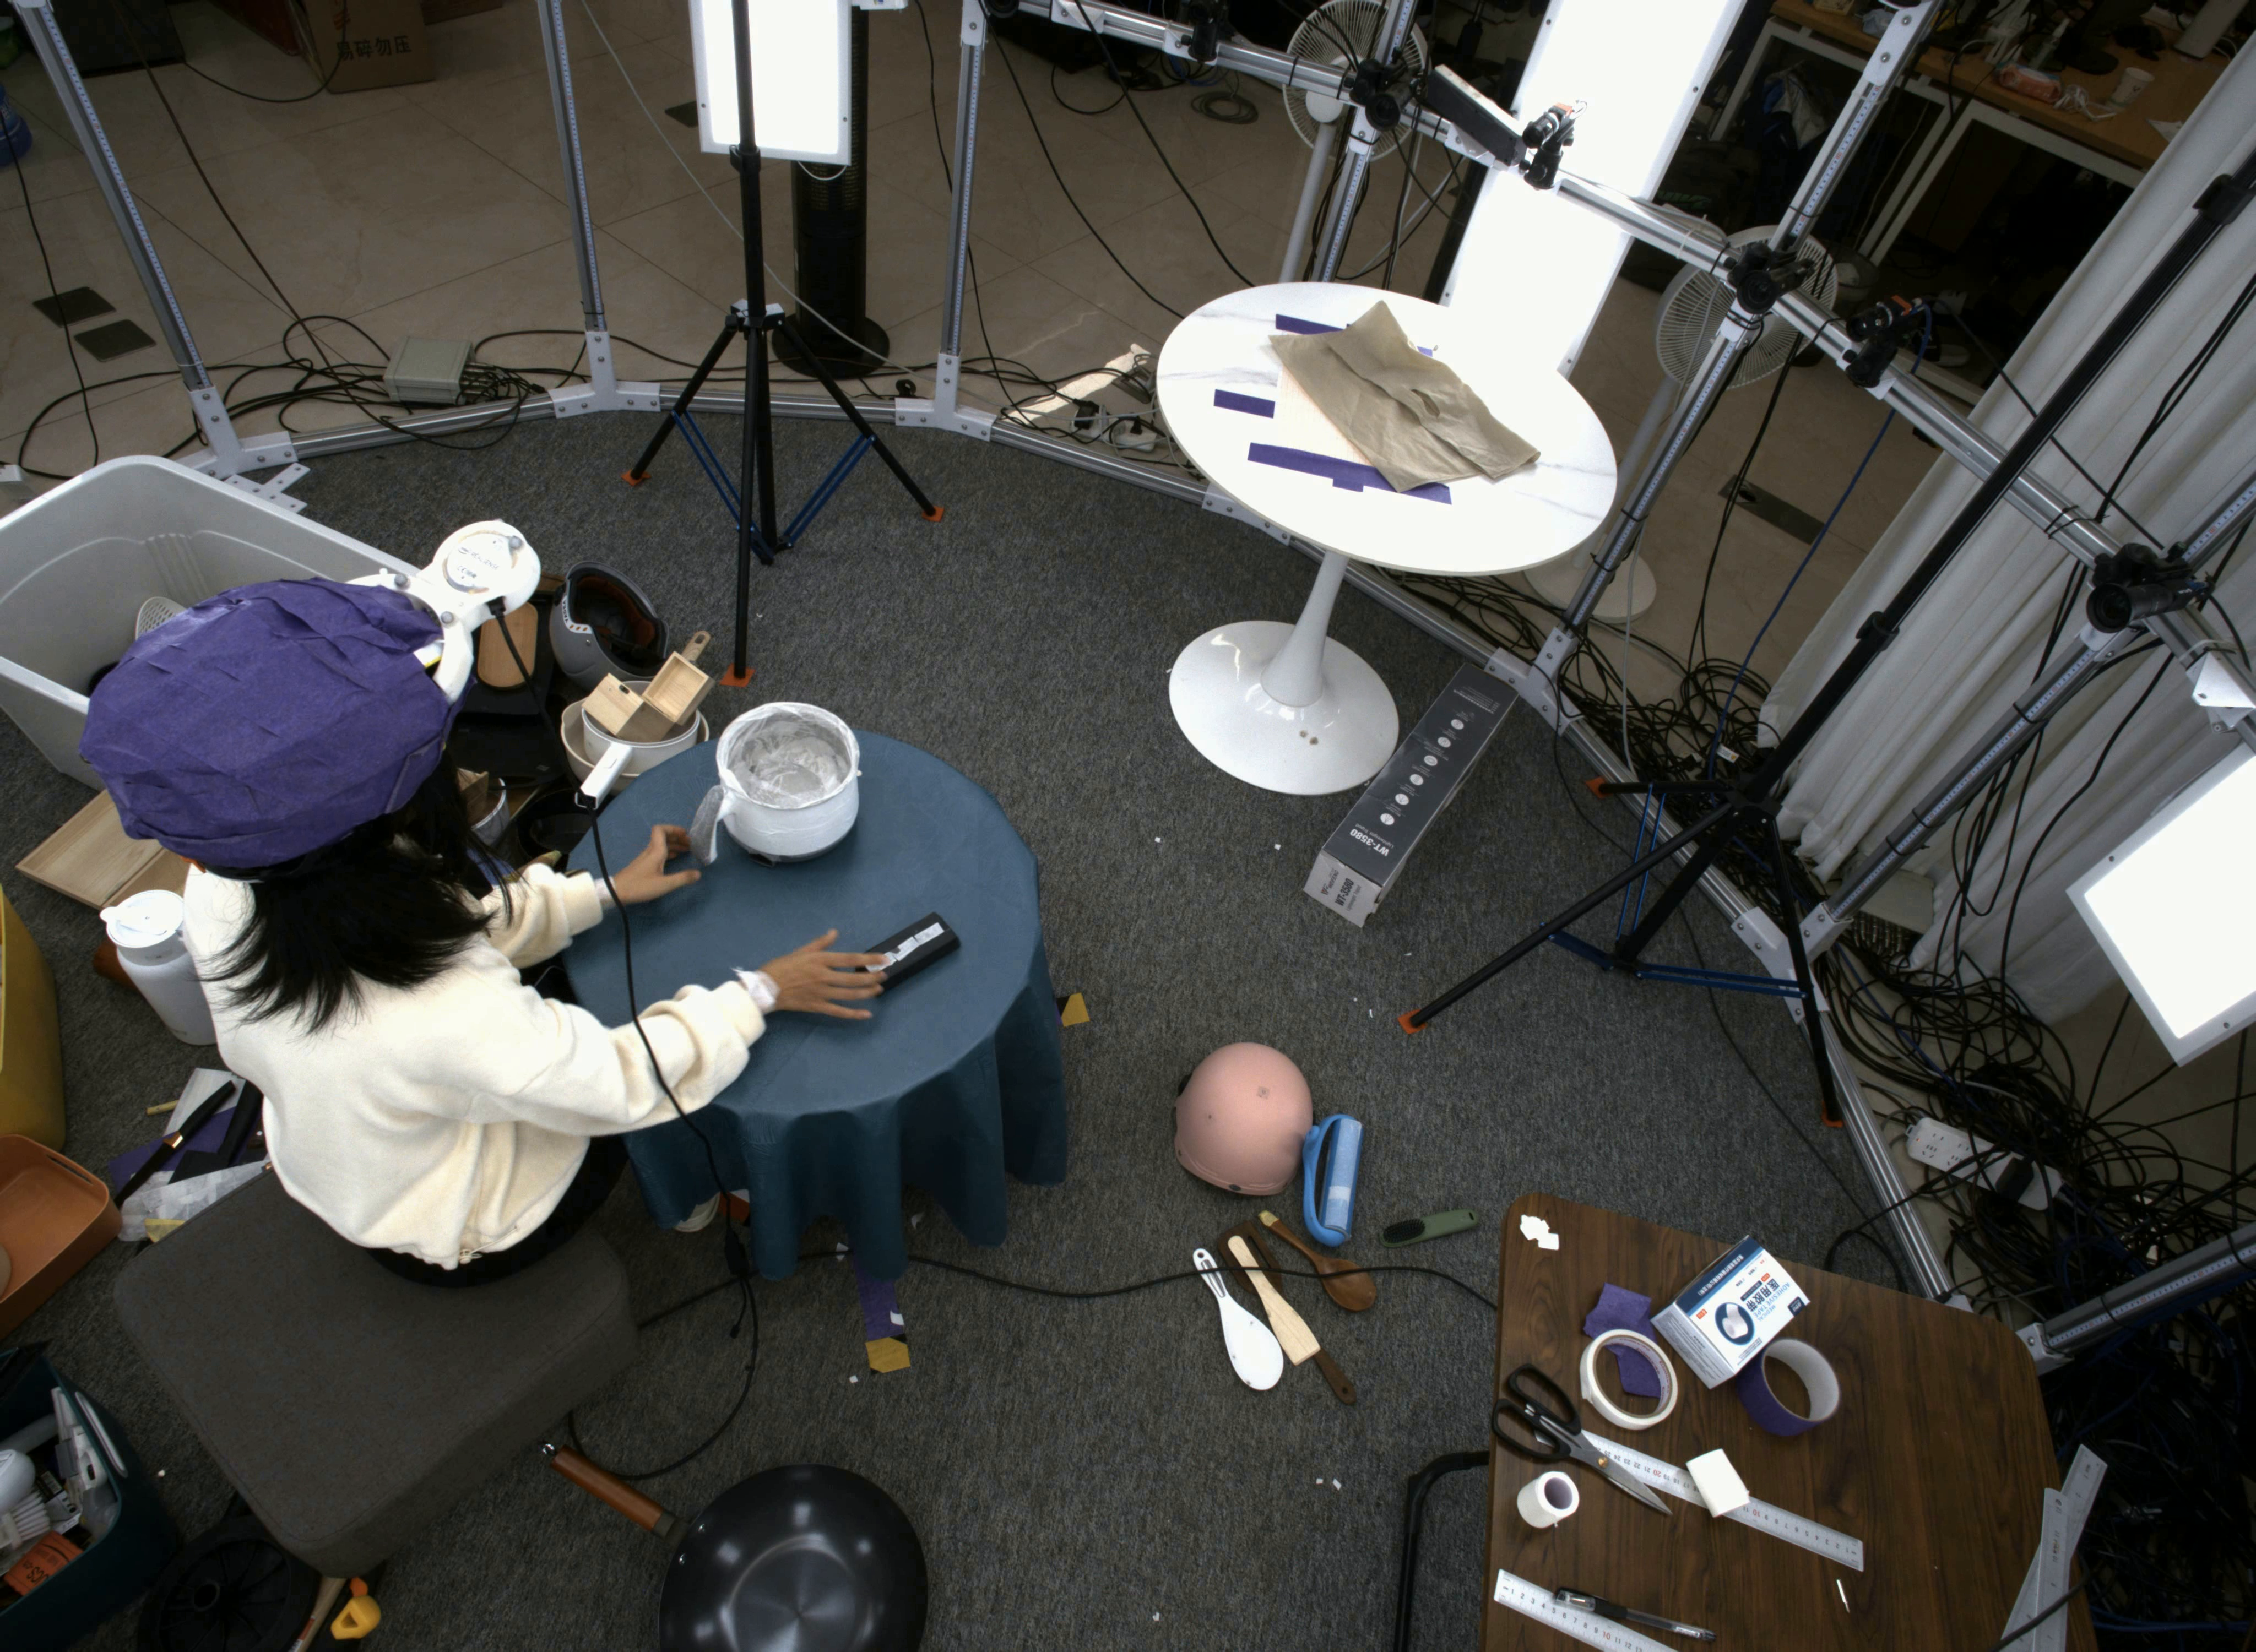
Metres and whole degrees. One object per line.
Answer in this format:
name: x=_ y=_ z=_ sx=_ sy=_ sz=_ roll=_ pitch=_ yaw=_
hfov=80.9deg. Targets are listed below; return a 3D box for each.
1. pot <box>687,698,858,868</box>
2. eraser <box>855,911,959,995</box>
pot: x=-0.457 y=-0.041 z=1.651 sx=0.175 sy=0.139 sz=0.234 roll=42 pitch=54 yaw=19
eraser: x=-0.275 y=0.155 z=1.625 sx=0.126 sy=0.031 sz=0.052 roll=-31 pitch=65 yaw=-30
